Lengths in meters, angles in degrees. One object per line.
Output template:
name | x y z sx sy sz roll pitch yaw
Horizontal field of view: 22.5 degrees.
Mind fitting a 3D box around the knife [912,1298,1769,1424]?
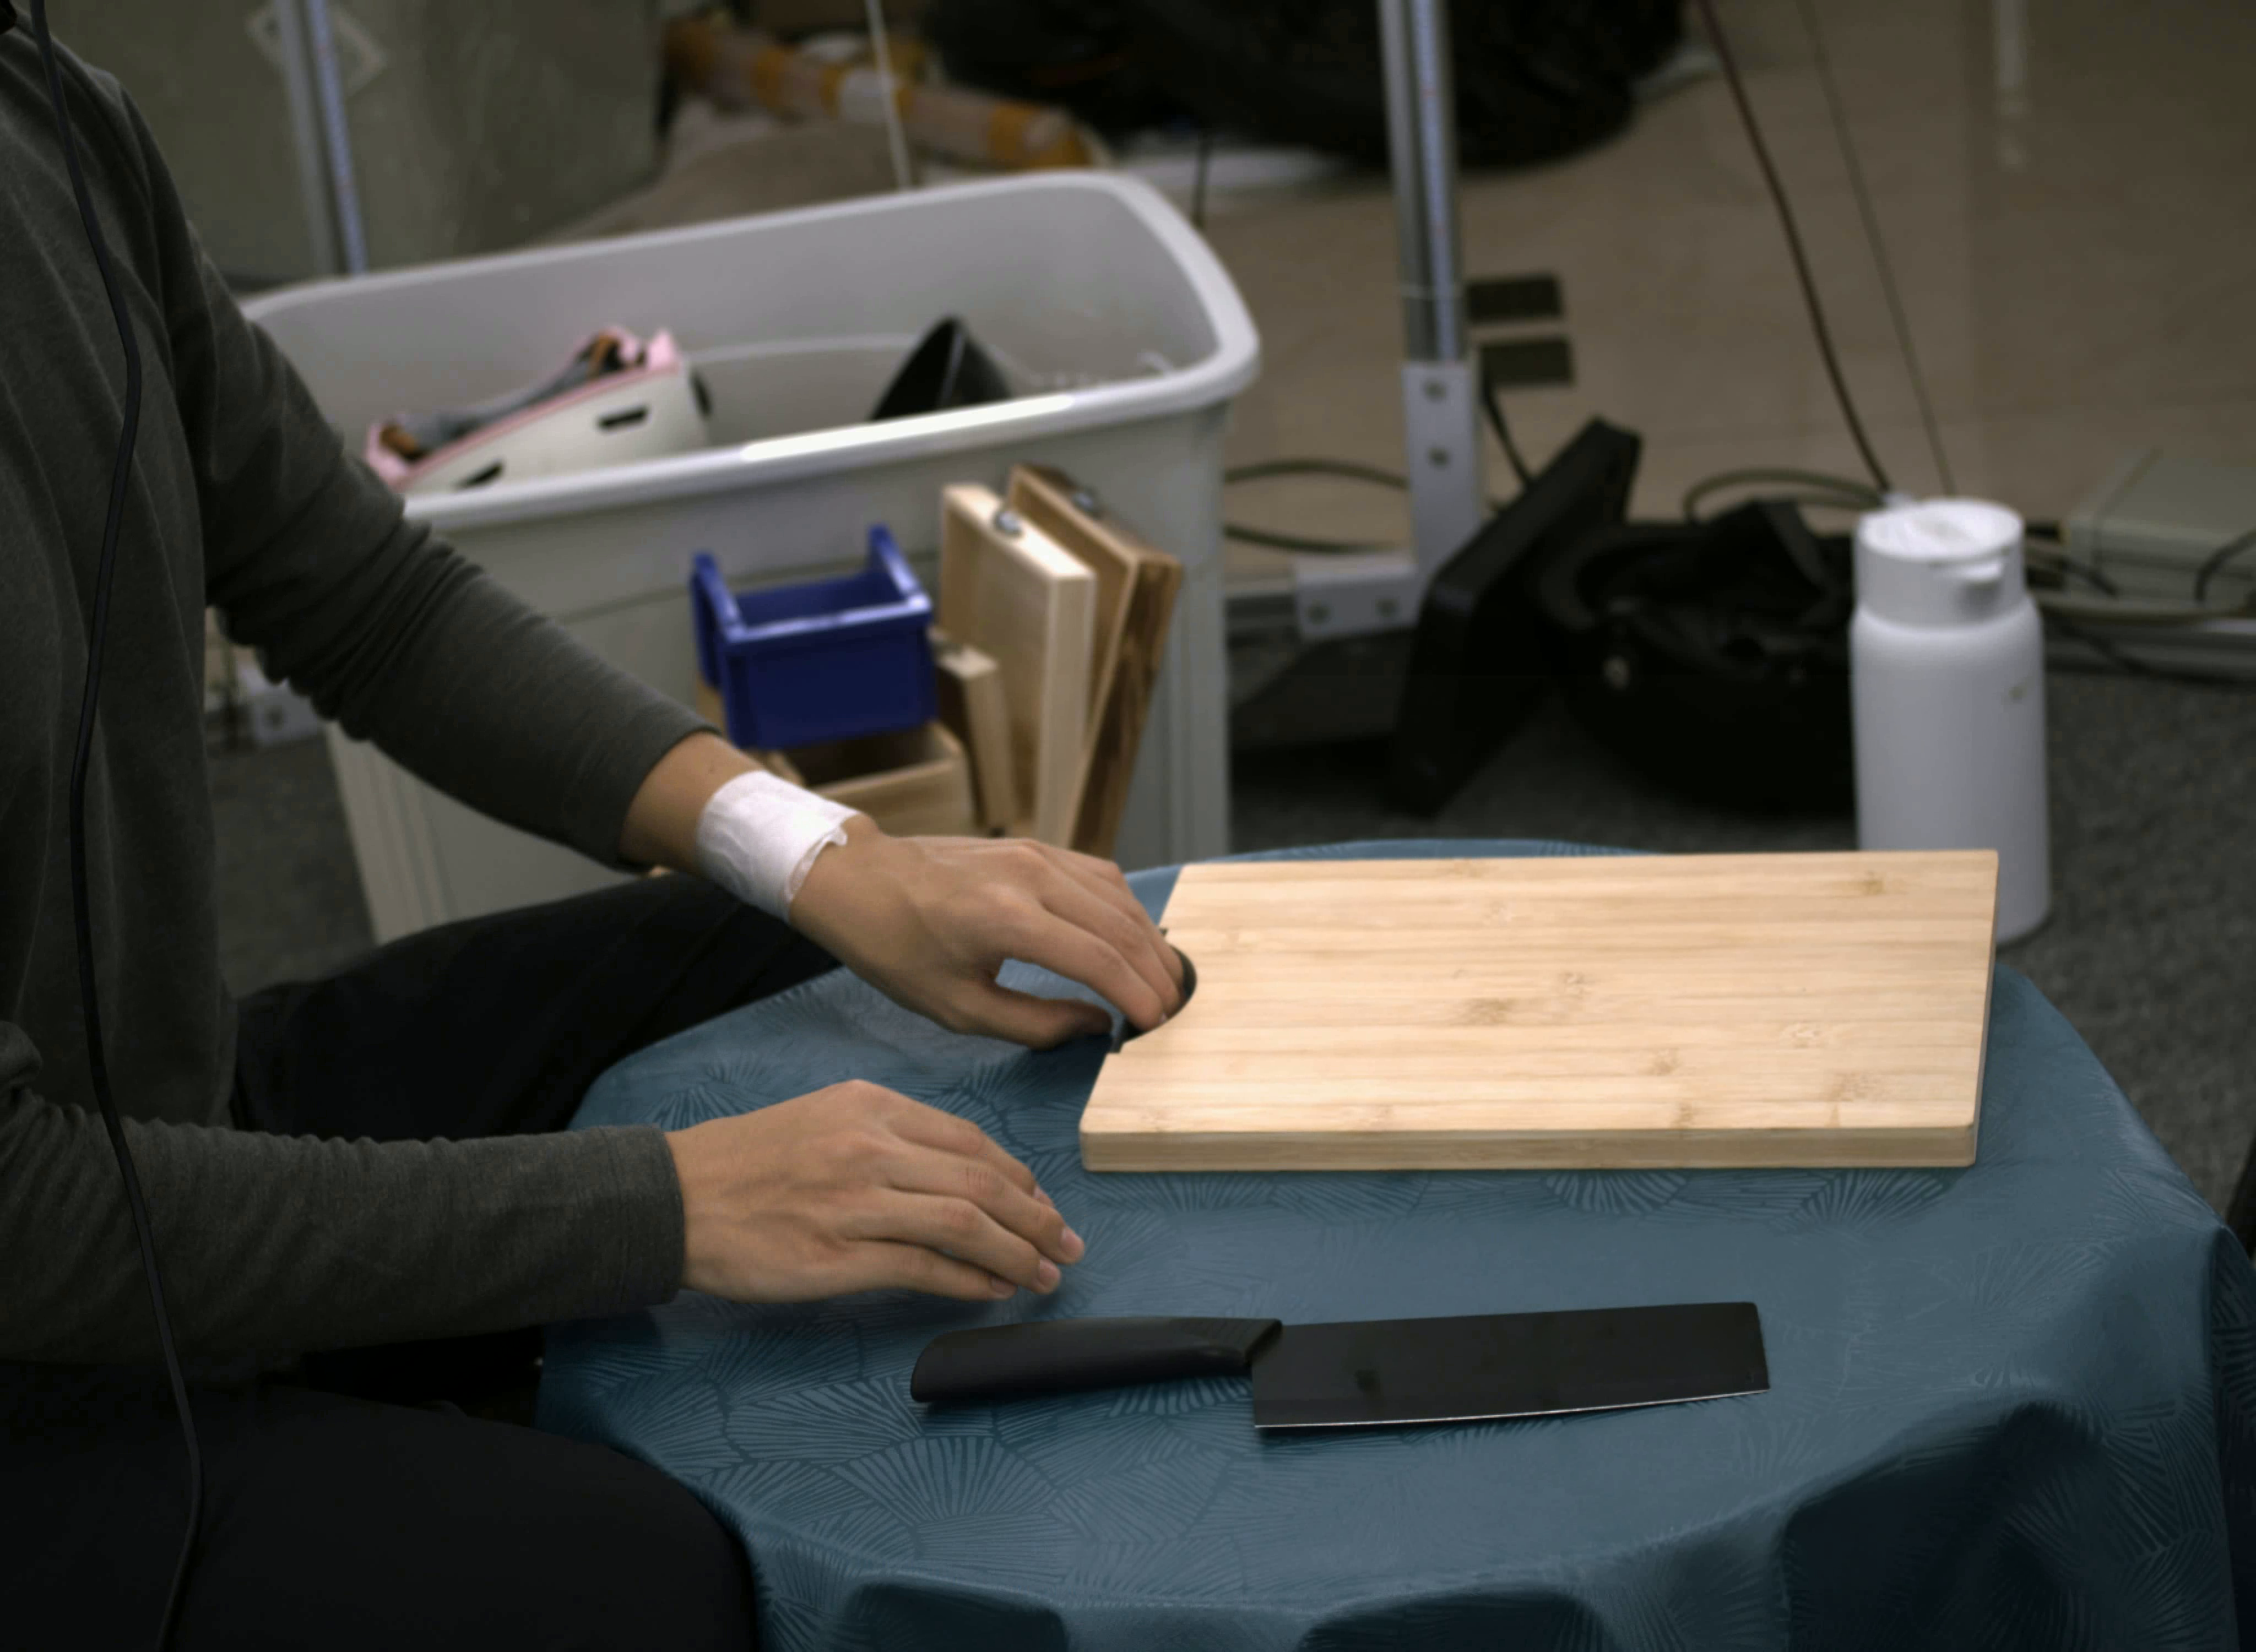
knife | 0.074 0.191 2.006 0.302 0.021 0.080 -2 26 6

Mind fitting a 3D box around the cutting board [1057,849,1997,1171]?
cutting board | 0.163 0.071 2.237 0.348 0.024 0.247 -1 25 11
